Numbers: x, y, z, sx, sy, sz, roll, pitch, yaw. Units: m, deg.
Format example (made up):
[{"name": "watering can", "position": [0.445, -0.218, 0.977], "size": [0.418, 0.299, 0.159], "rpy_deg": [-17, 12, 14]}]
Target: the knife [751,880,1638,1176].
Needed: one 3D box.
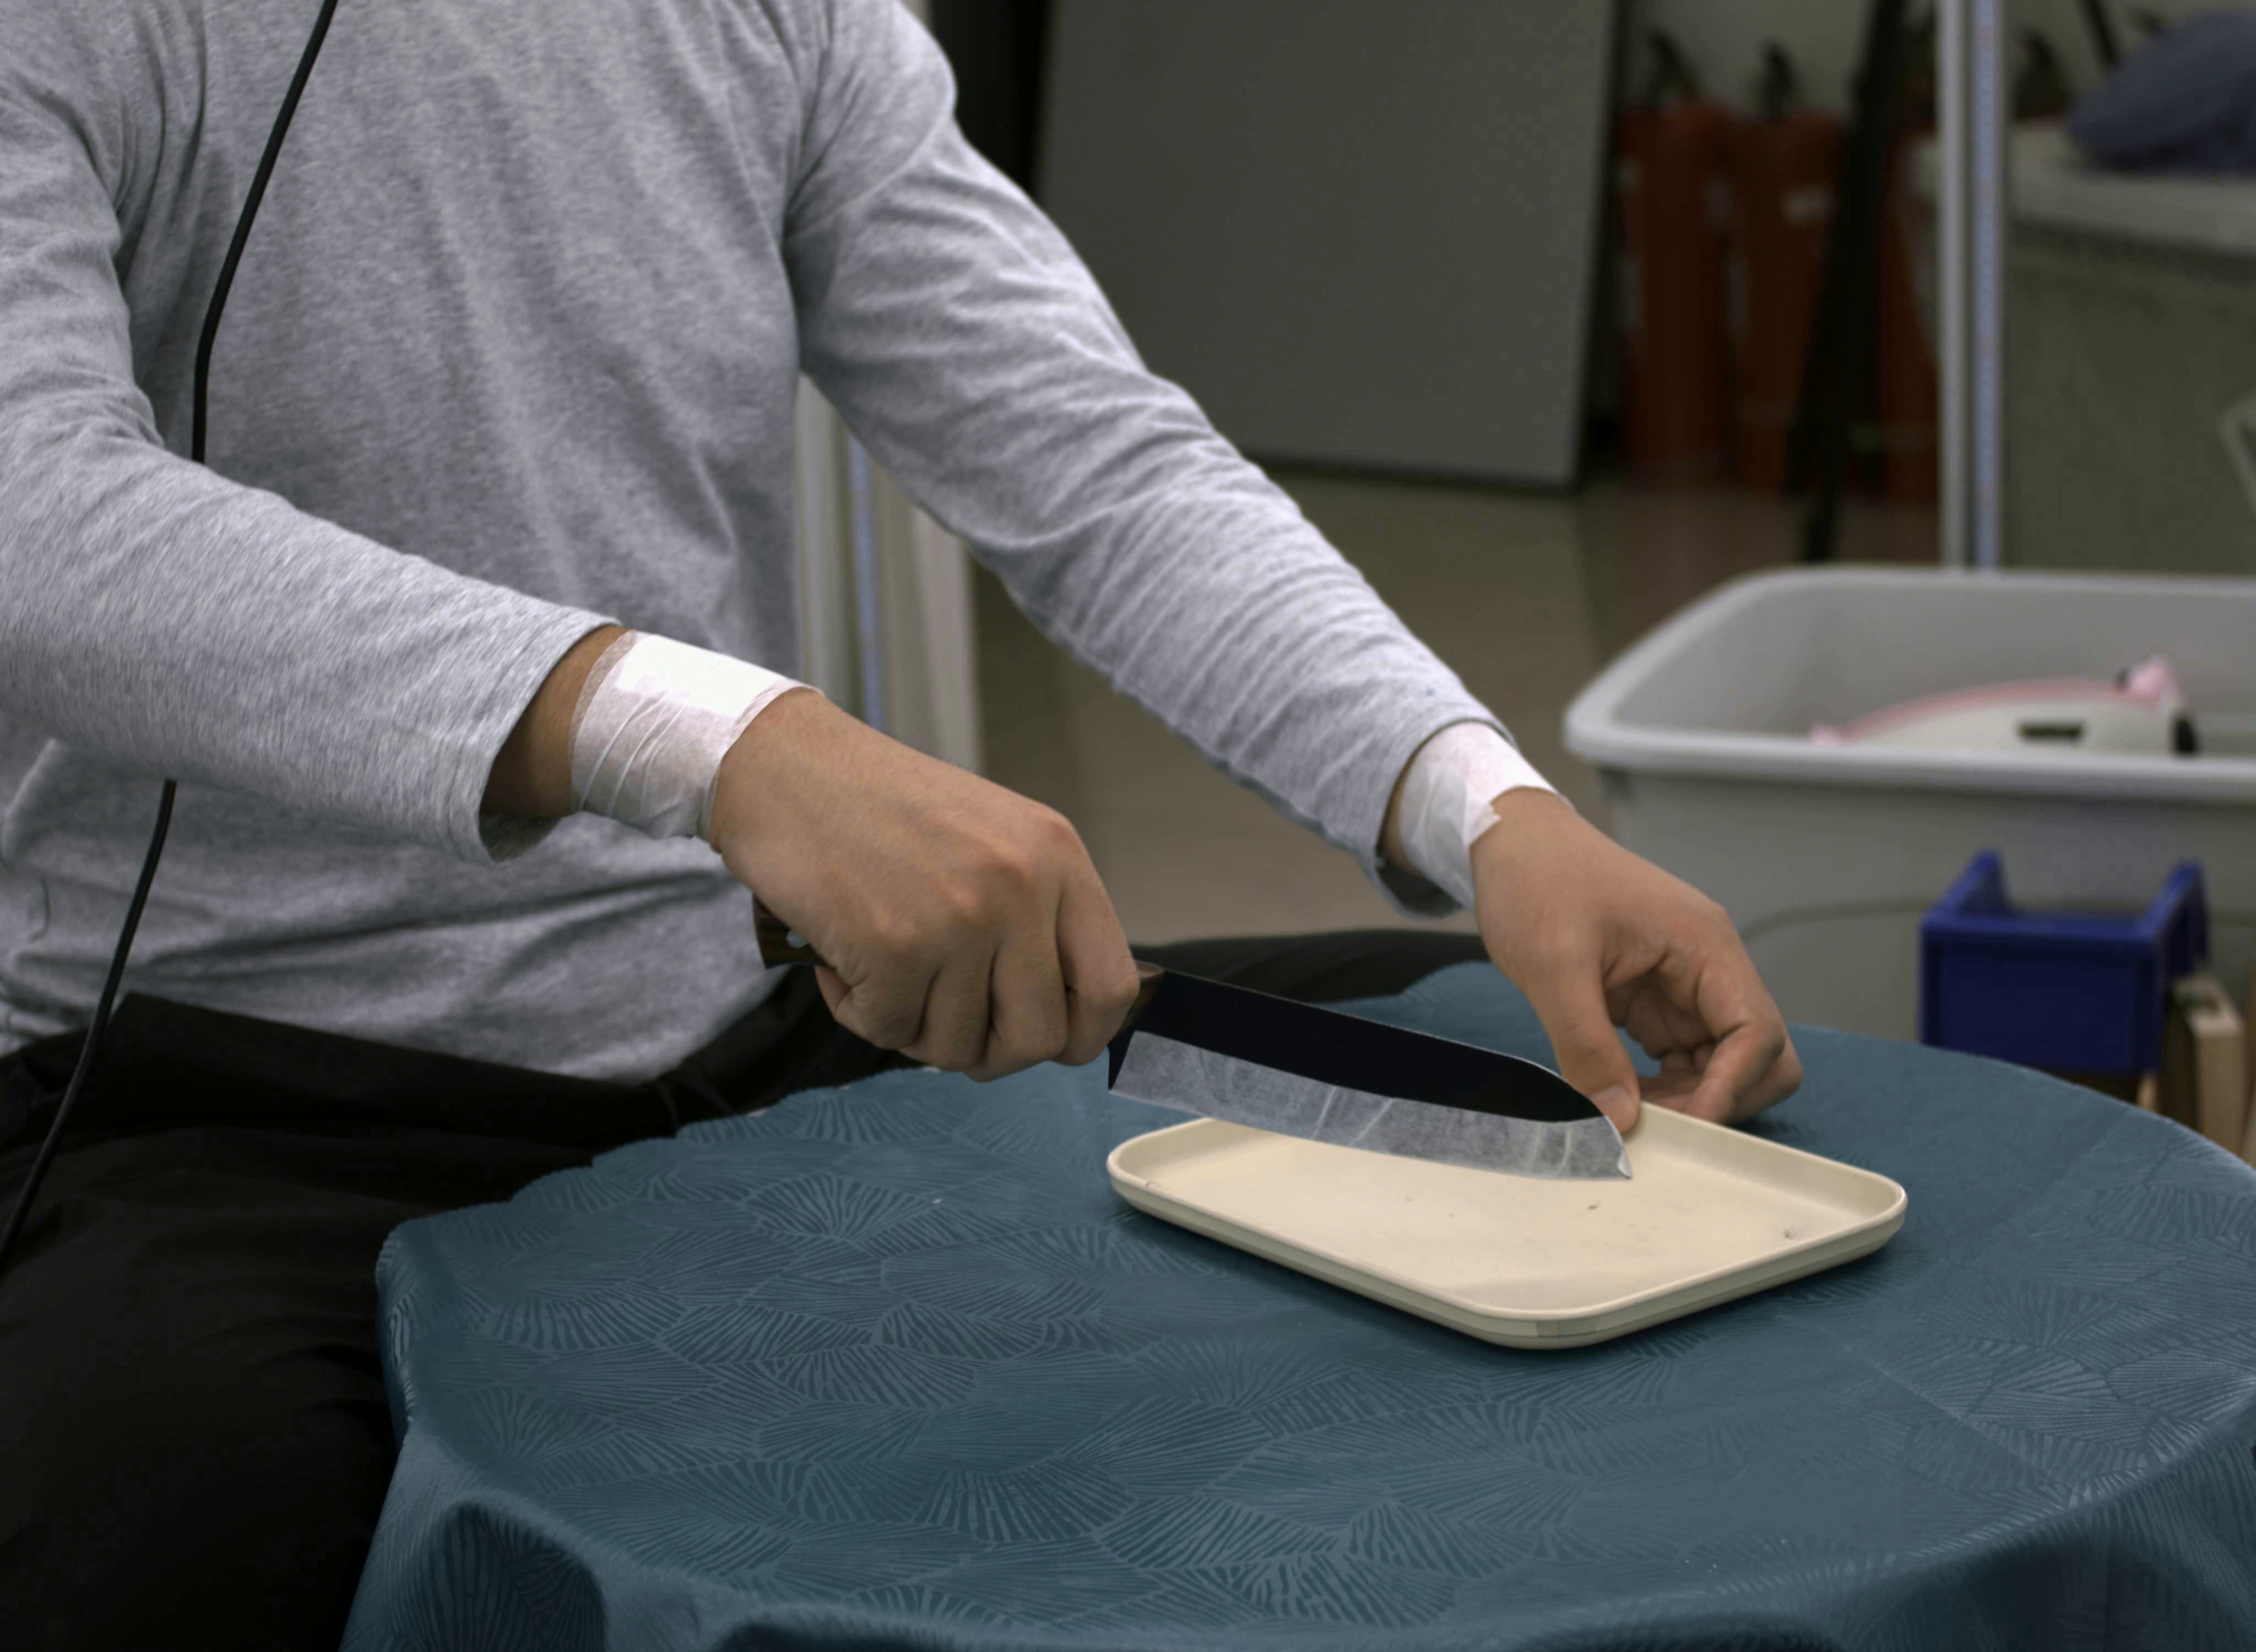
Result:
[{"name": "knife", "position": [0.022, 0.063, 1.615], "size": [0.284, 0.051, 0.020], "rpy_deg": [16, 21, -9]}]

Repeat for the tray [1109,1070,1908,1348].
[{"name": "tray", "position": [0.118, 0.119, 1.711], "size": [0.167, 0.017, 0.242], "rpy_deg": [-13, 16, -33]}]
